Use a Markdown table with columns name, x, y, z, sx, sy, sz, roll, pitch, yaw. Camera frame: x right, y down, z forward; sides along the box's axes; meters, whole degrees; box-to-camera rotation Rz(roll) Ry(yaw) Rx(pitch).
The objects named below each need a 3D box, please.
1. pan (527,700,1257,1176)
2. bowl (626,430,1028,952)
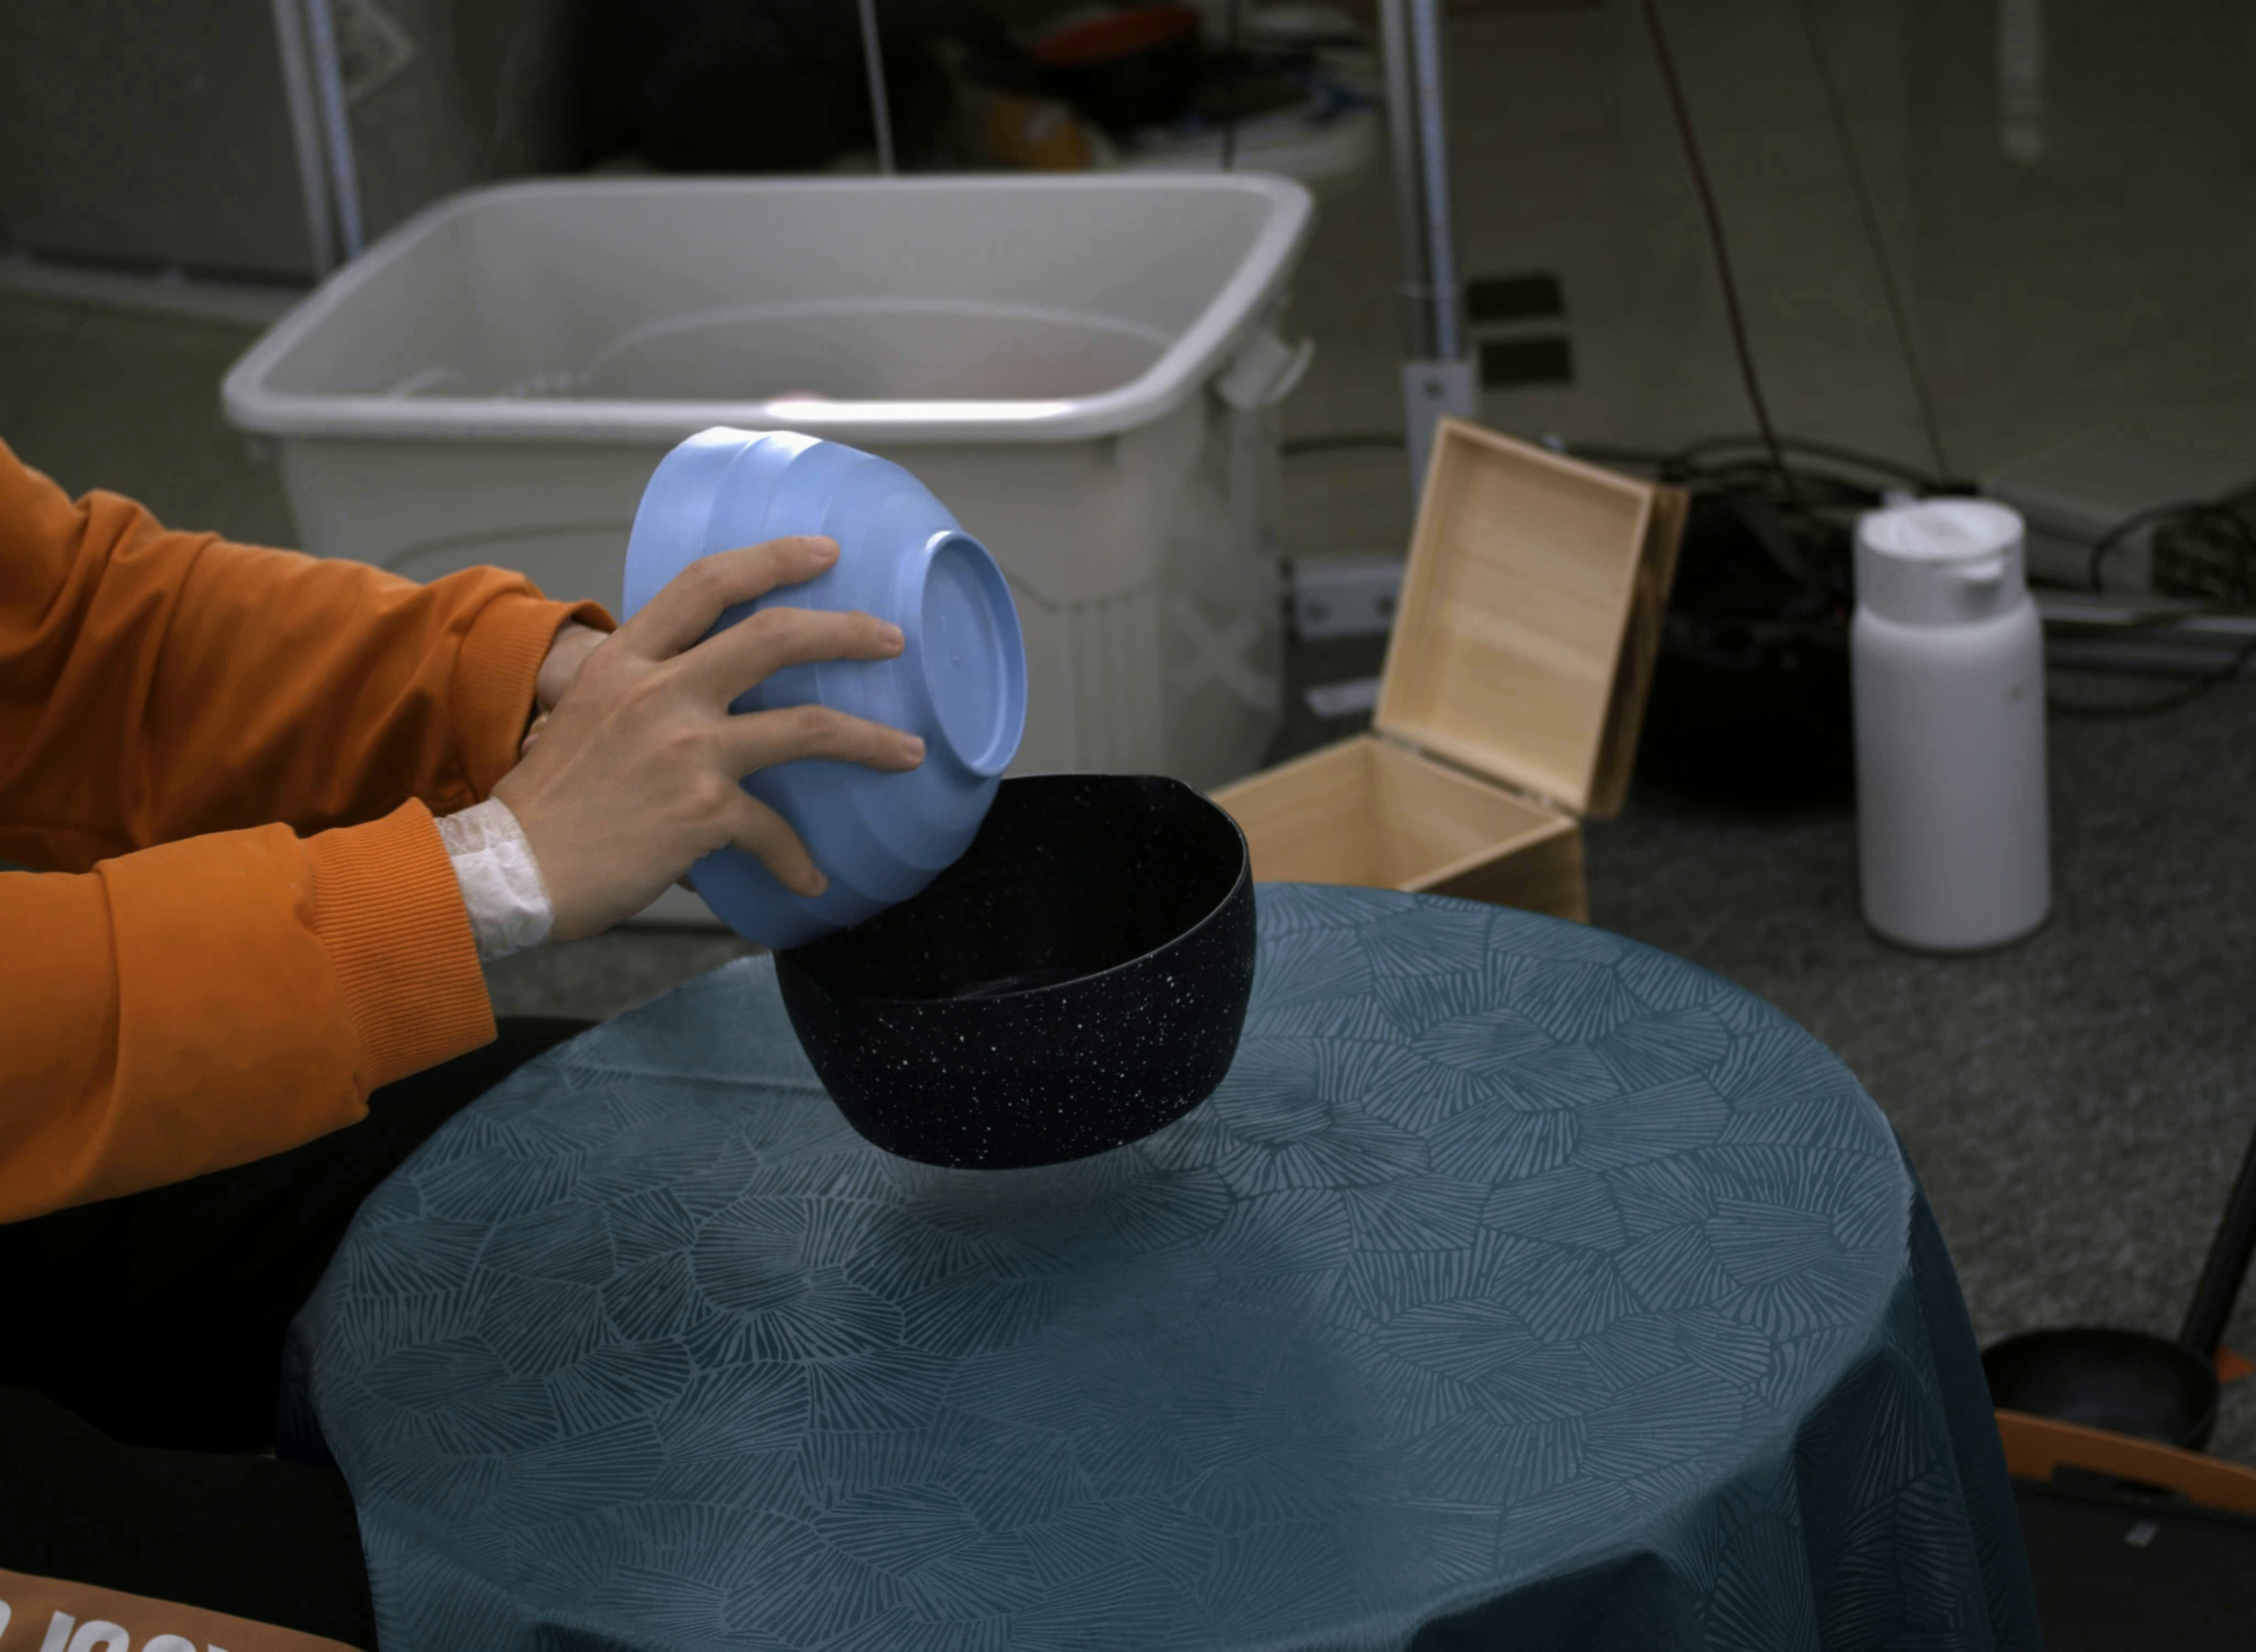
| name | x | y | z | sx | sy | sz | roll | pitch | yaw |
| --- | --- | --- | --- | --- | --- | --- | --- | --- | --- |
| pan | -0.103 | 0.033 | 2.187 | 0.340 | 0.110 | 0.205 | 15 | 36 | 37 |
| bowl | -0.098 | -0.057 | 2.088 | 0.095 | 0.199 | 0.194 | -8 | 23 | 23 |
